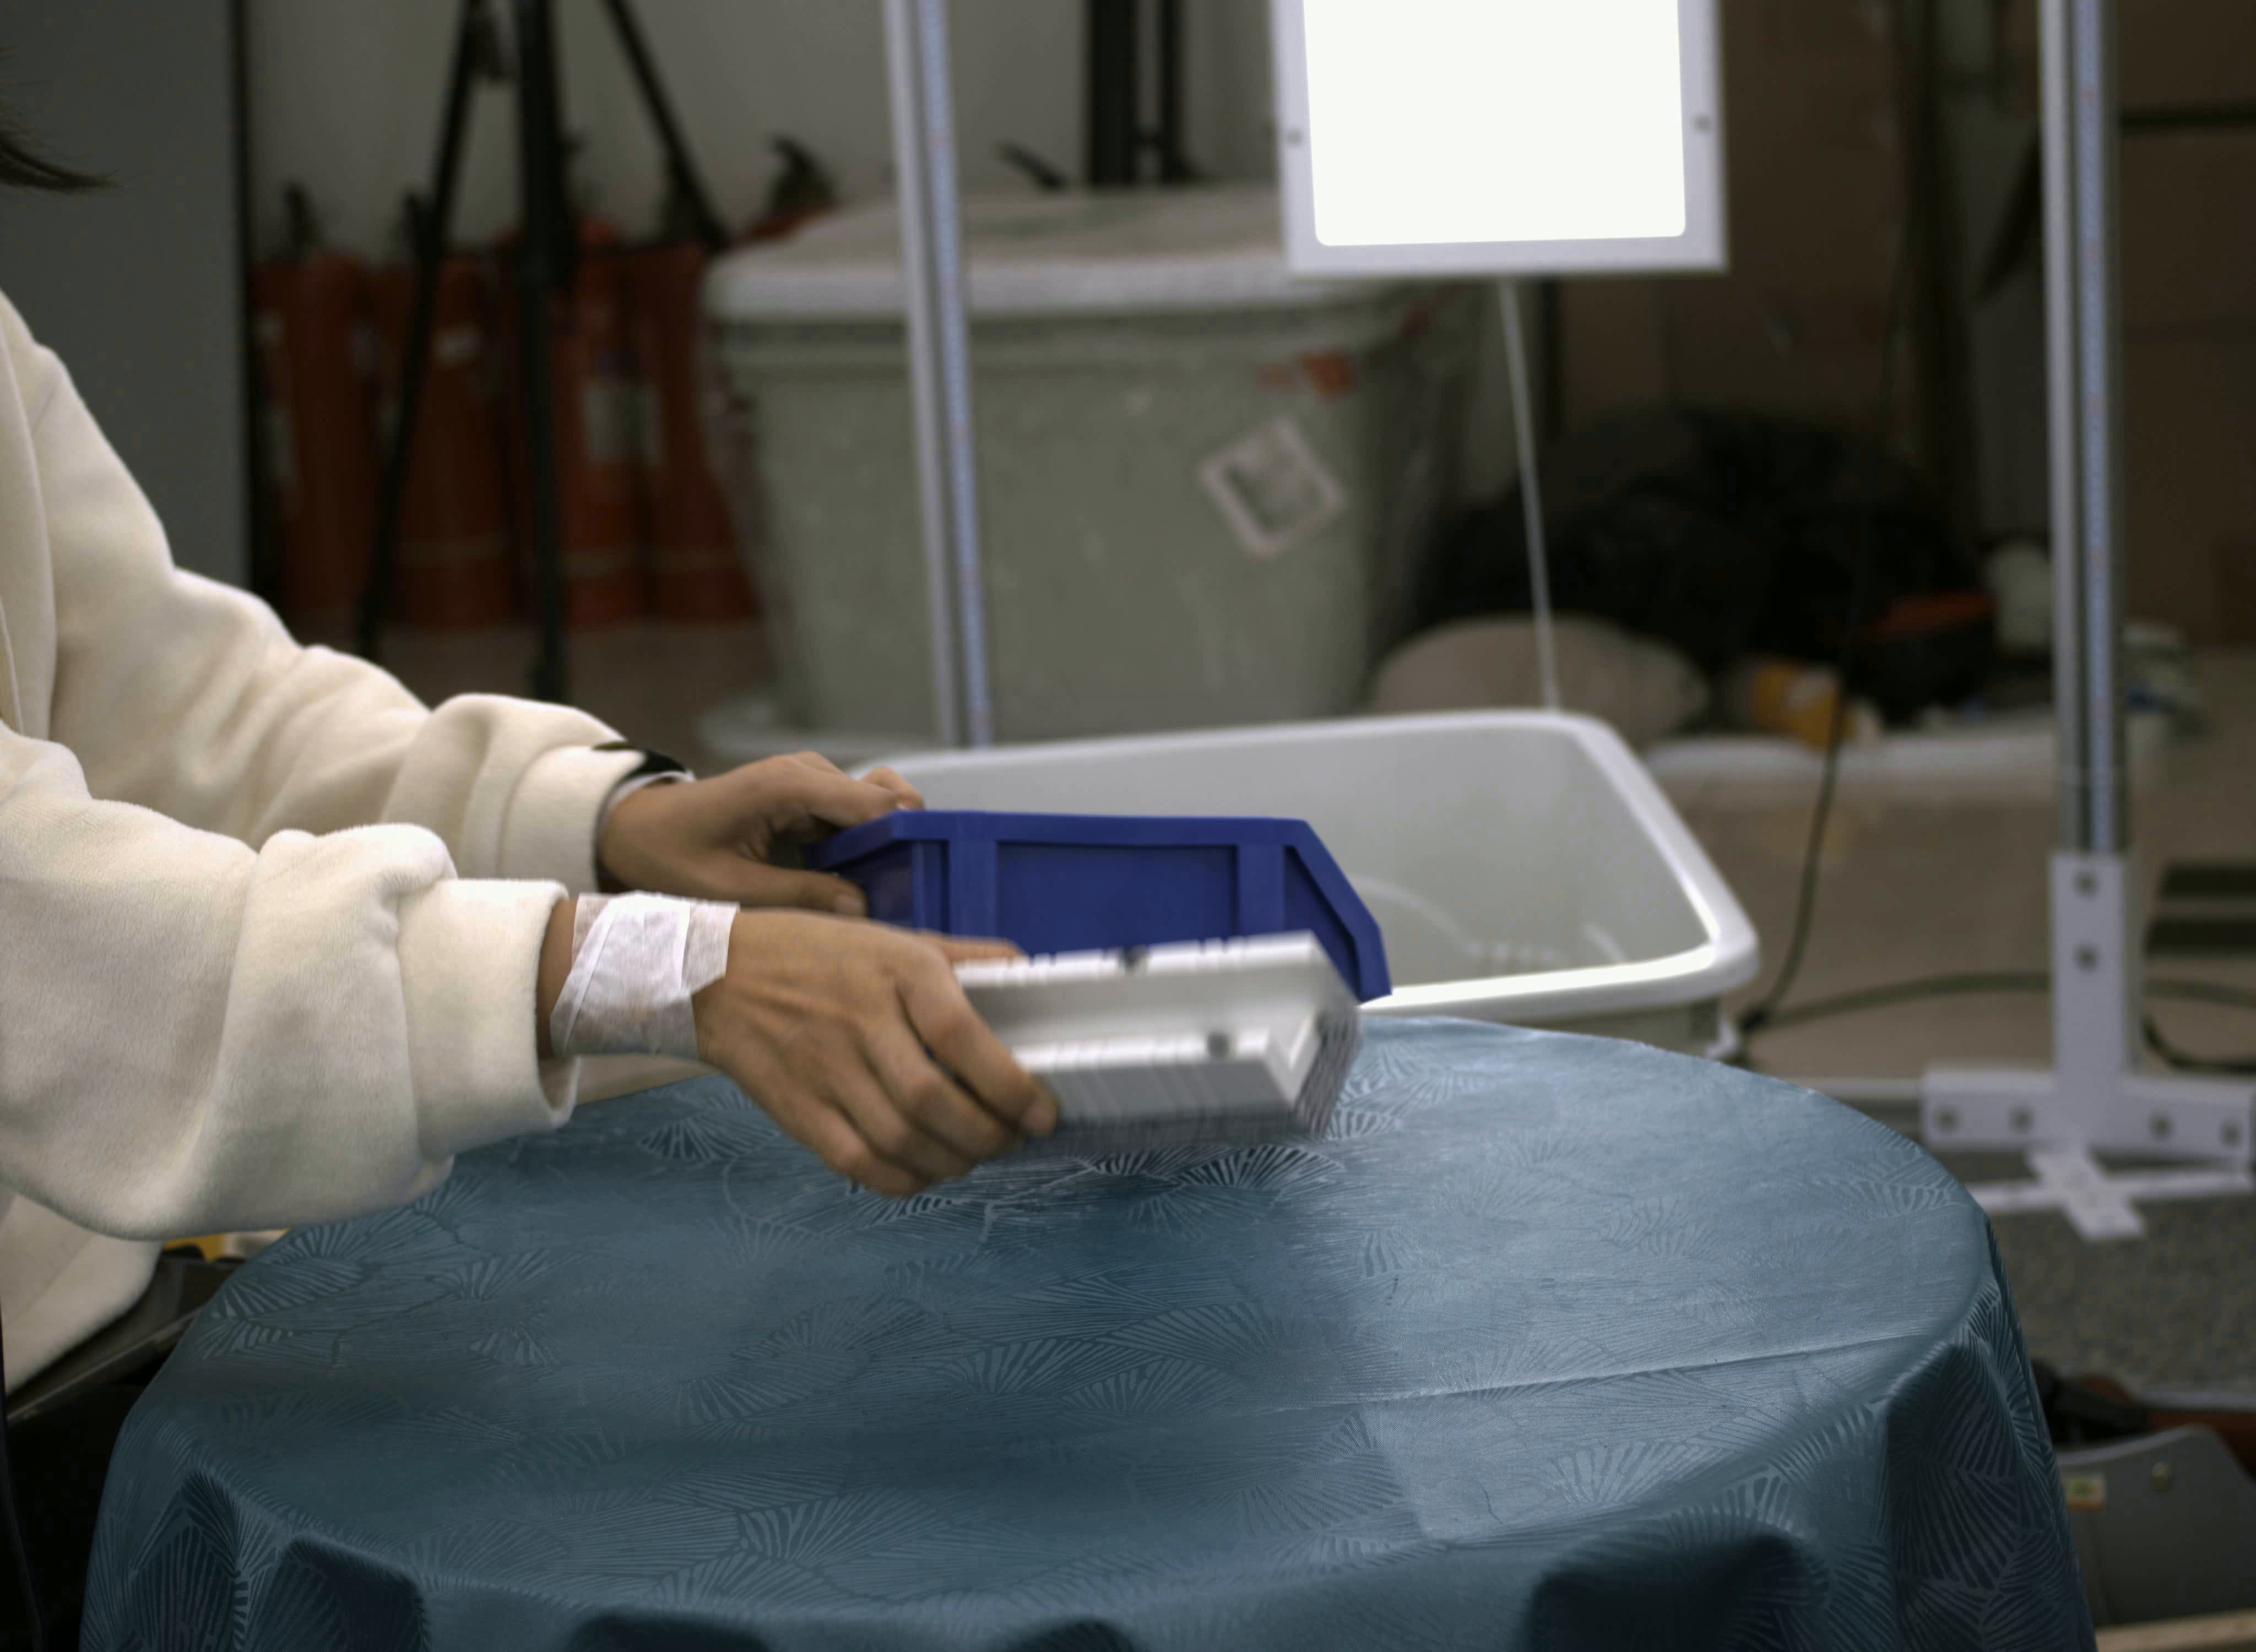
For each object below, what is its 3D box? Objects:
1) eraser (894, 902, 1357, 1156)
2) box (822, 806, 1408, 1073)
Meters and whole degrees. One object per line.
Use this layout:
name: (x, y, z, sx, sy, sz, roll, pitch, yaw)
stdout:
eraser: (0.000, 0.063, 1.656, 0.137, 0.046, 0.049, -9, 44, 33)
box: (-0.006, 0.041, 1.936, 0.177, 0.082, 0.126, -1, -7, -16)
